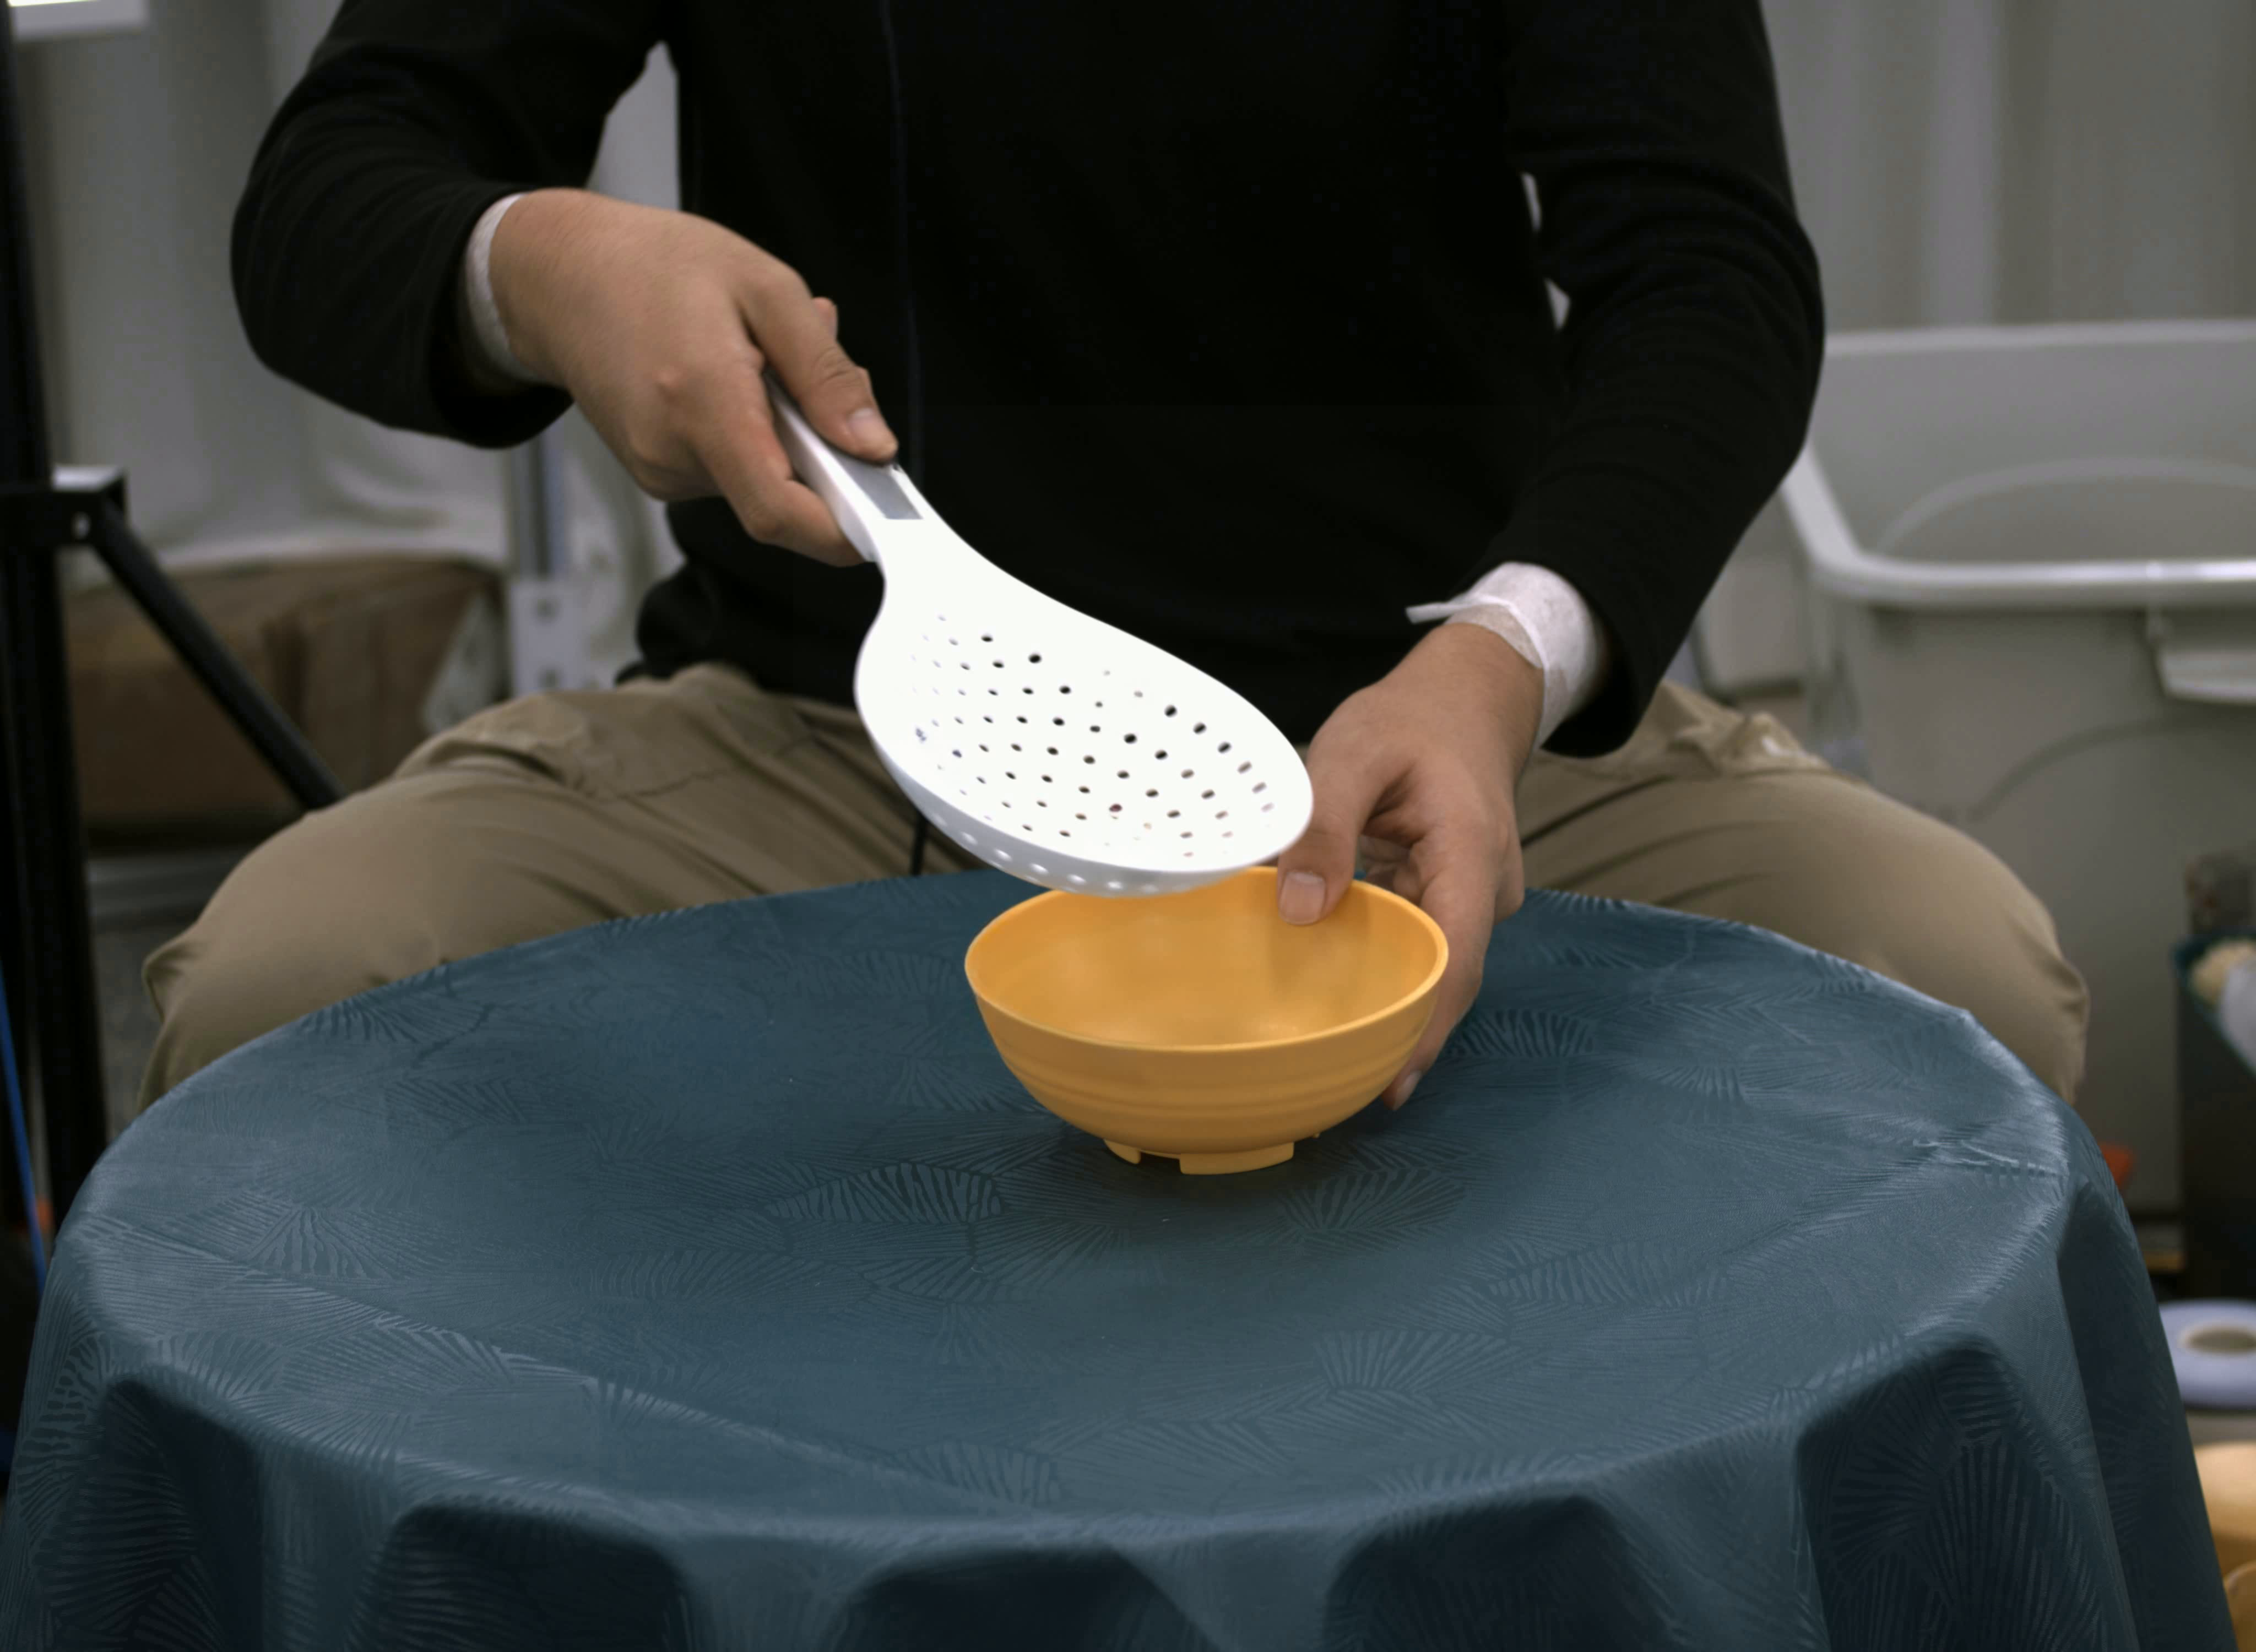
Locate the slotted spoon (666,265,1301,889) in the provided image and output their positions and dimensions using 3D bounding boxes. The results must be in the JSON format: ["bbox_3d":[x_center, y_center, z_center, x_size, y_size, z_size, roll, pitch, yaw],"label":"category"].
[{"bbox_3d":[-0.065,-0.081,1.612,0.133,0.046,0.357,-3,38,-29],"label":"slotted spoon"}]

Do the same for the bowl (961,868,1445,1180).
[{"bbox_3d":[0.022,0.066,1.591,0.144,0.060,0.146,-1,21,-1],"label":"bowl"}]
